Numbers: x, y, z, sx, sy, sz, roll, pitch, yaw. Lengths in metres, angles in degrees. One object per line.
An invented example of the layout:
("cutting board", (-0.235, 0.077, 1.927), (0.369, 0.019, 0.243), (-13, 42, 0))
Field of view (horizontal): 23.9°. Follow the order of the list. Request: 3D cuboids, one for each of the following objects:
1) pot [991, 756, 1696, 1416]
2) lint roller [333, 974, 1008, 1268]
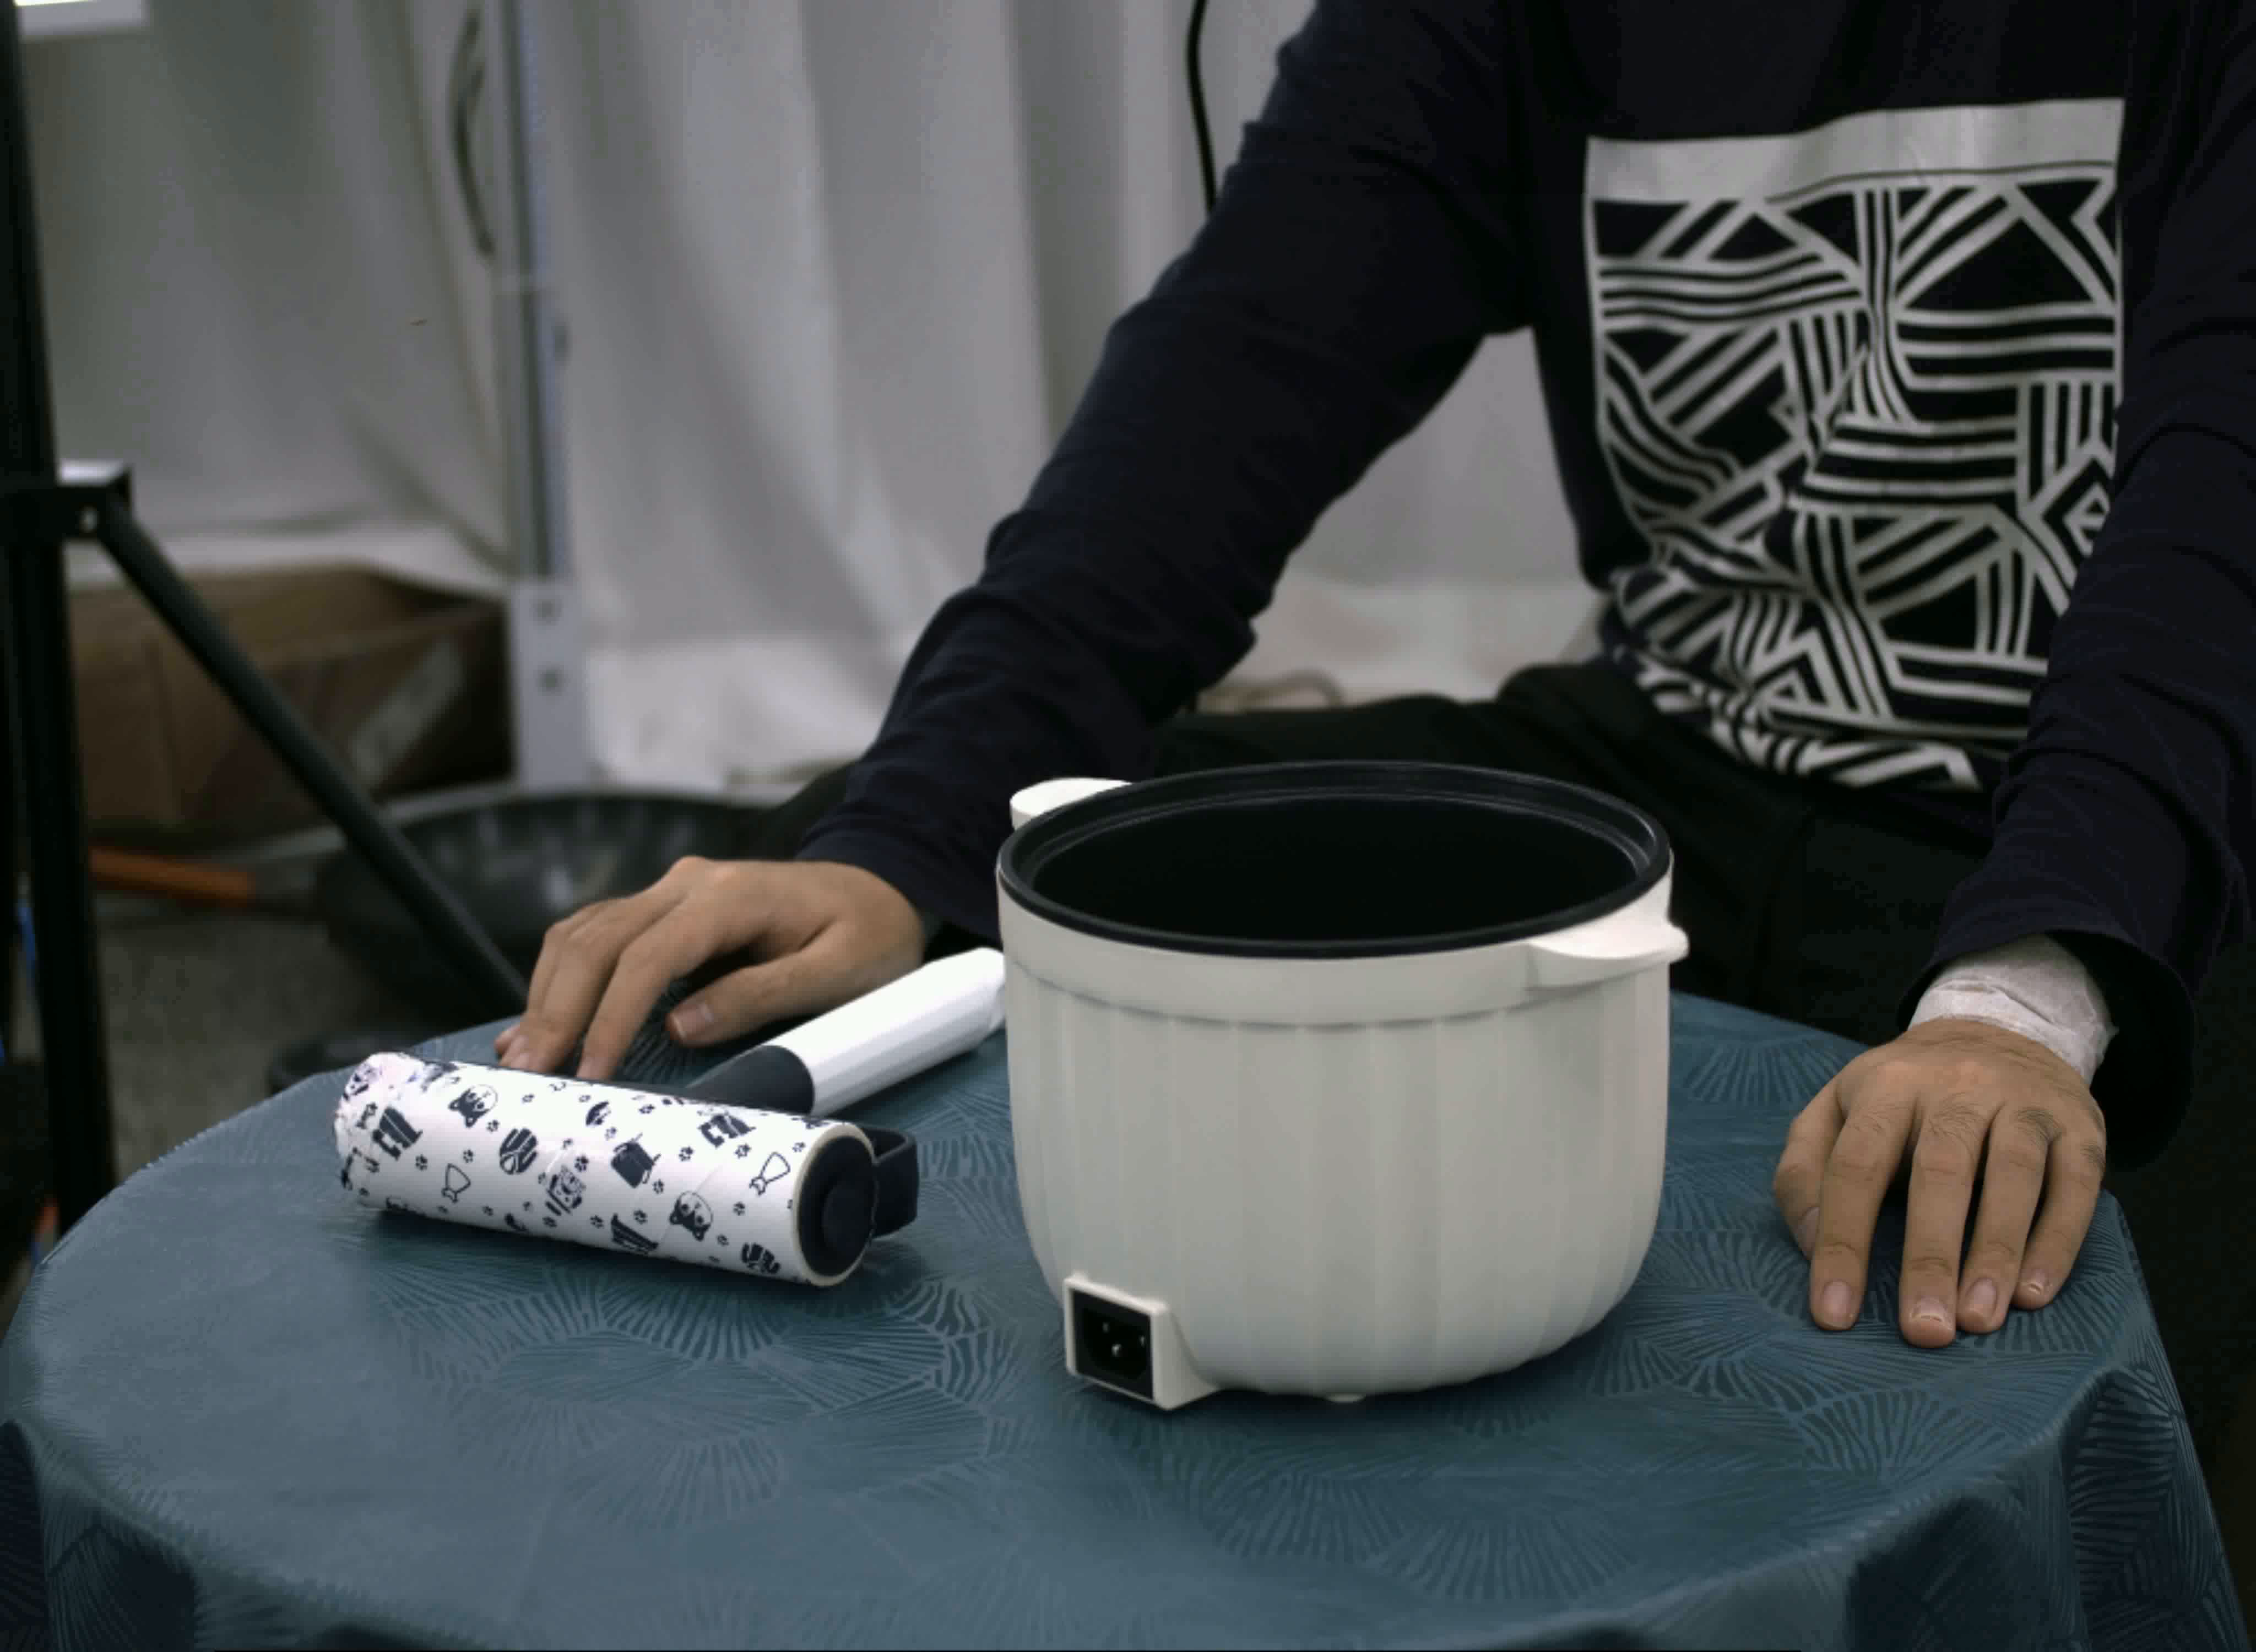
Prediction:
("pot", (0.060, 0.068, 1.439), (0.186, 0.142, 0.246), (-19, 23, -39))
("lint roller", (-0.103, 0.075, 1.619), (0.179, 0.050, 0.242), (5, 15, 29))
